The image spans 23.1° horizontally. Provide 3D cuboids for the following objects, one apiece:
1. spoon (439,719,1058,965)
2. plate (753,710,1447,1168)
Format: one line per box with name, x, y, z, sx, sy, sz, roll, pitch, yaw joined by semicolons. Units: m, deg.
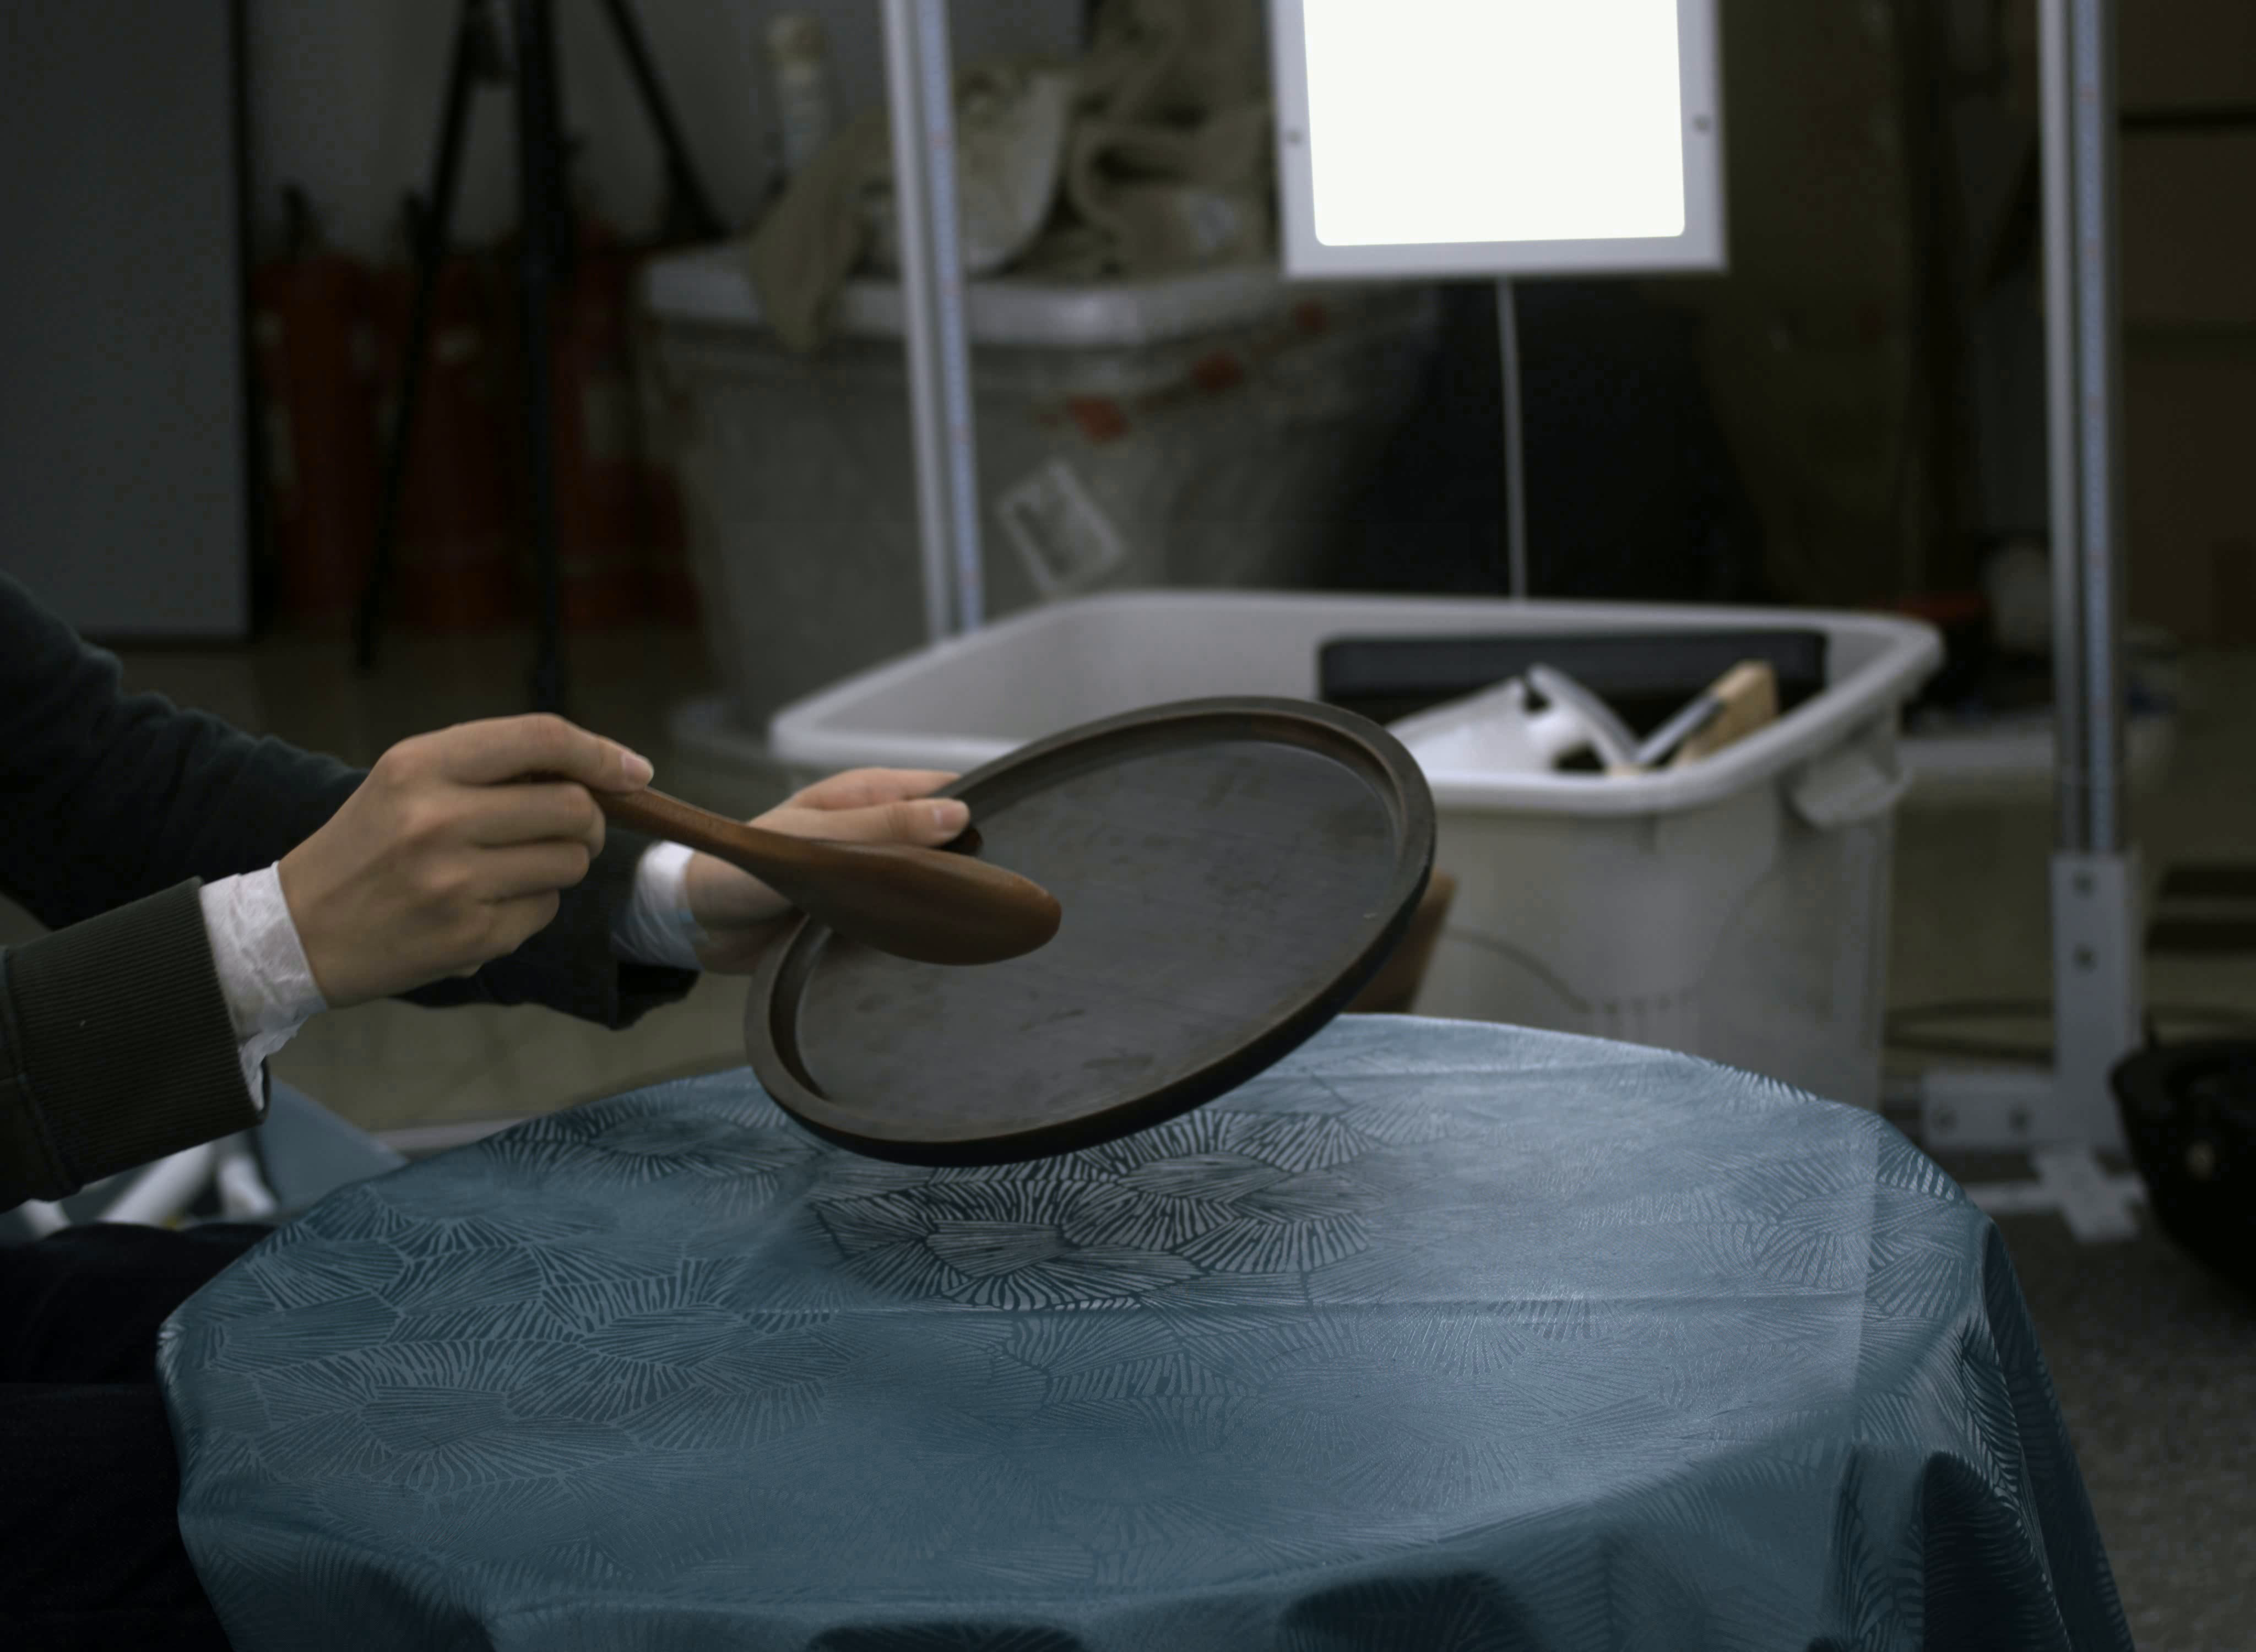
spoon;-0.117;0.008;1.713;0.212;0.017;0.077;21;-24;-27
plate;-0.009;0.037;1.893;0.256;0.029;0.254;-18;29;9
